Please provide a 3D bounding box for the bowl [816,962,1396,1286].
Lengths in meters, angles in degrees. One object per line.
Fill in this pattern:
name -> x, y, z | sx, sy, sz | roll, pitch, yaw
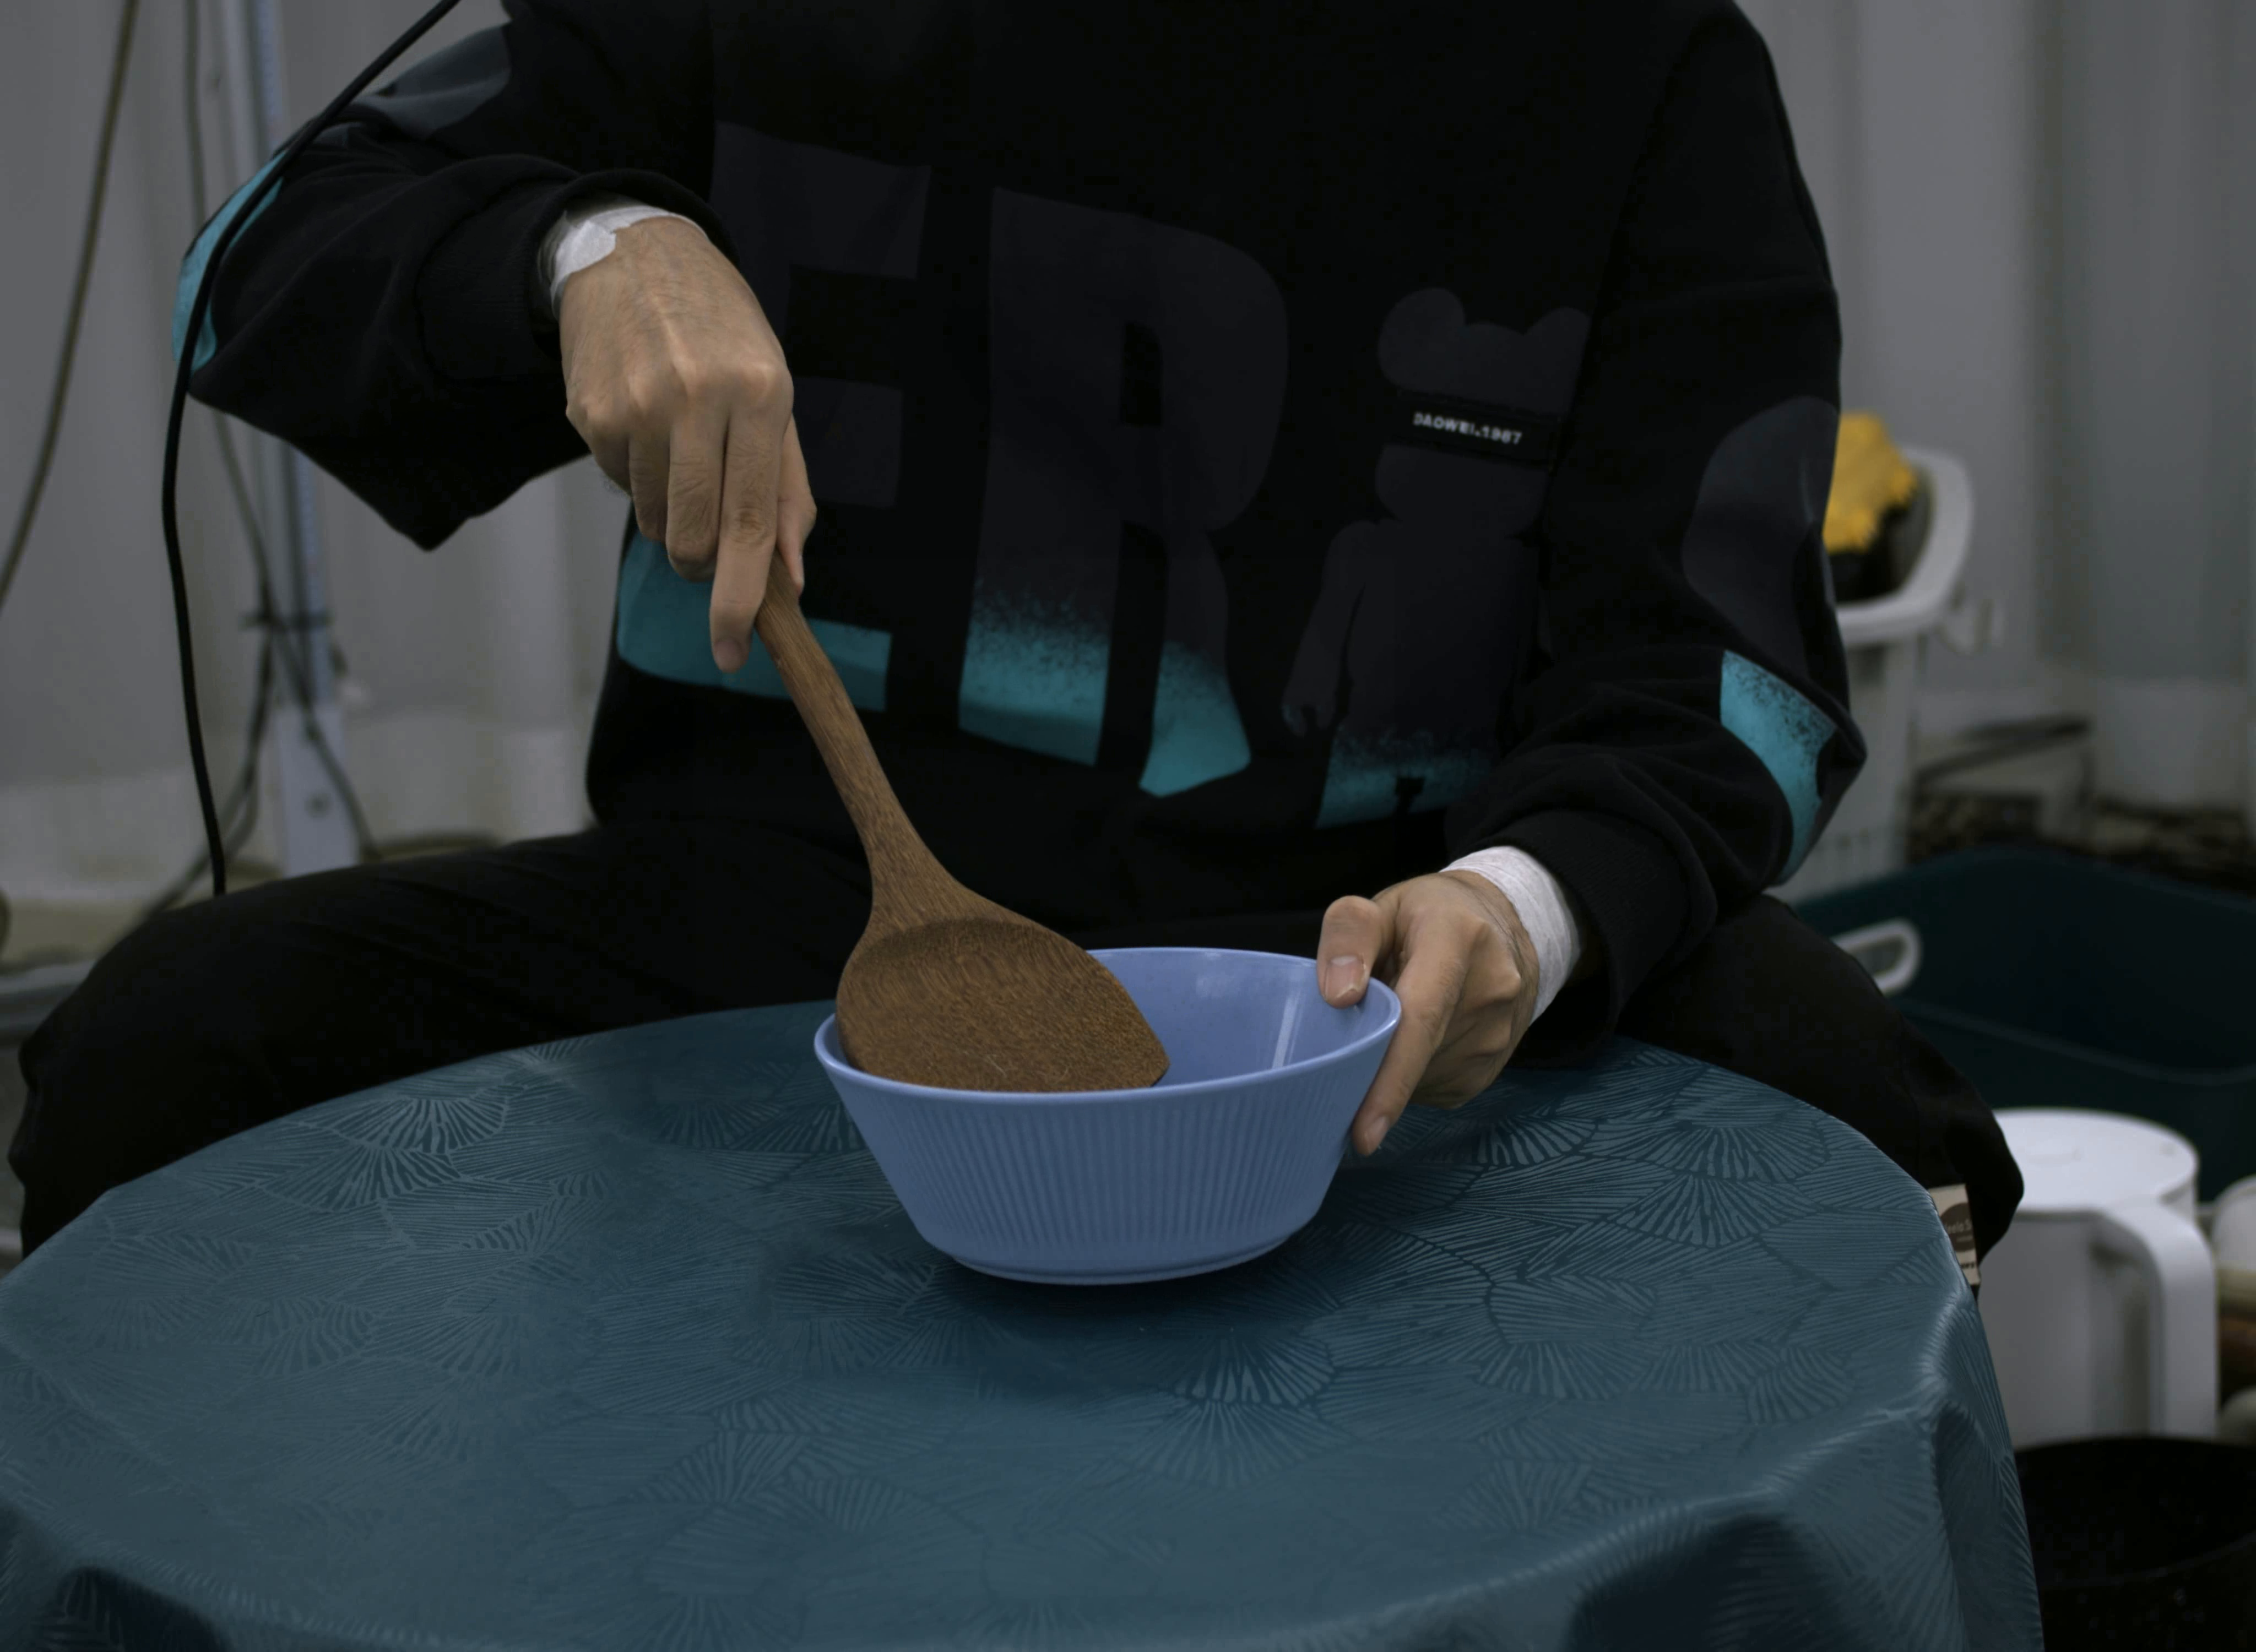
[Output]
bowl -> -0.005, 0.091, 1.644 | 0.175, 0.070, 0.177 | -3, 11, 0

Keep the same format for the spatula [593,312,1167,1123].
spatula -> -0.098, -0.042, 1.735 | 0.096, 0.015, 0.392 | -10, 48, -23
